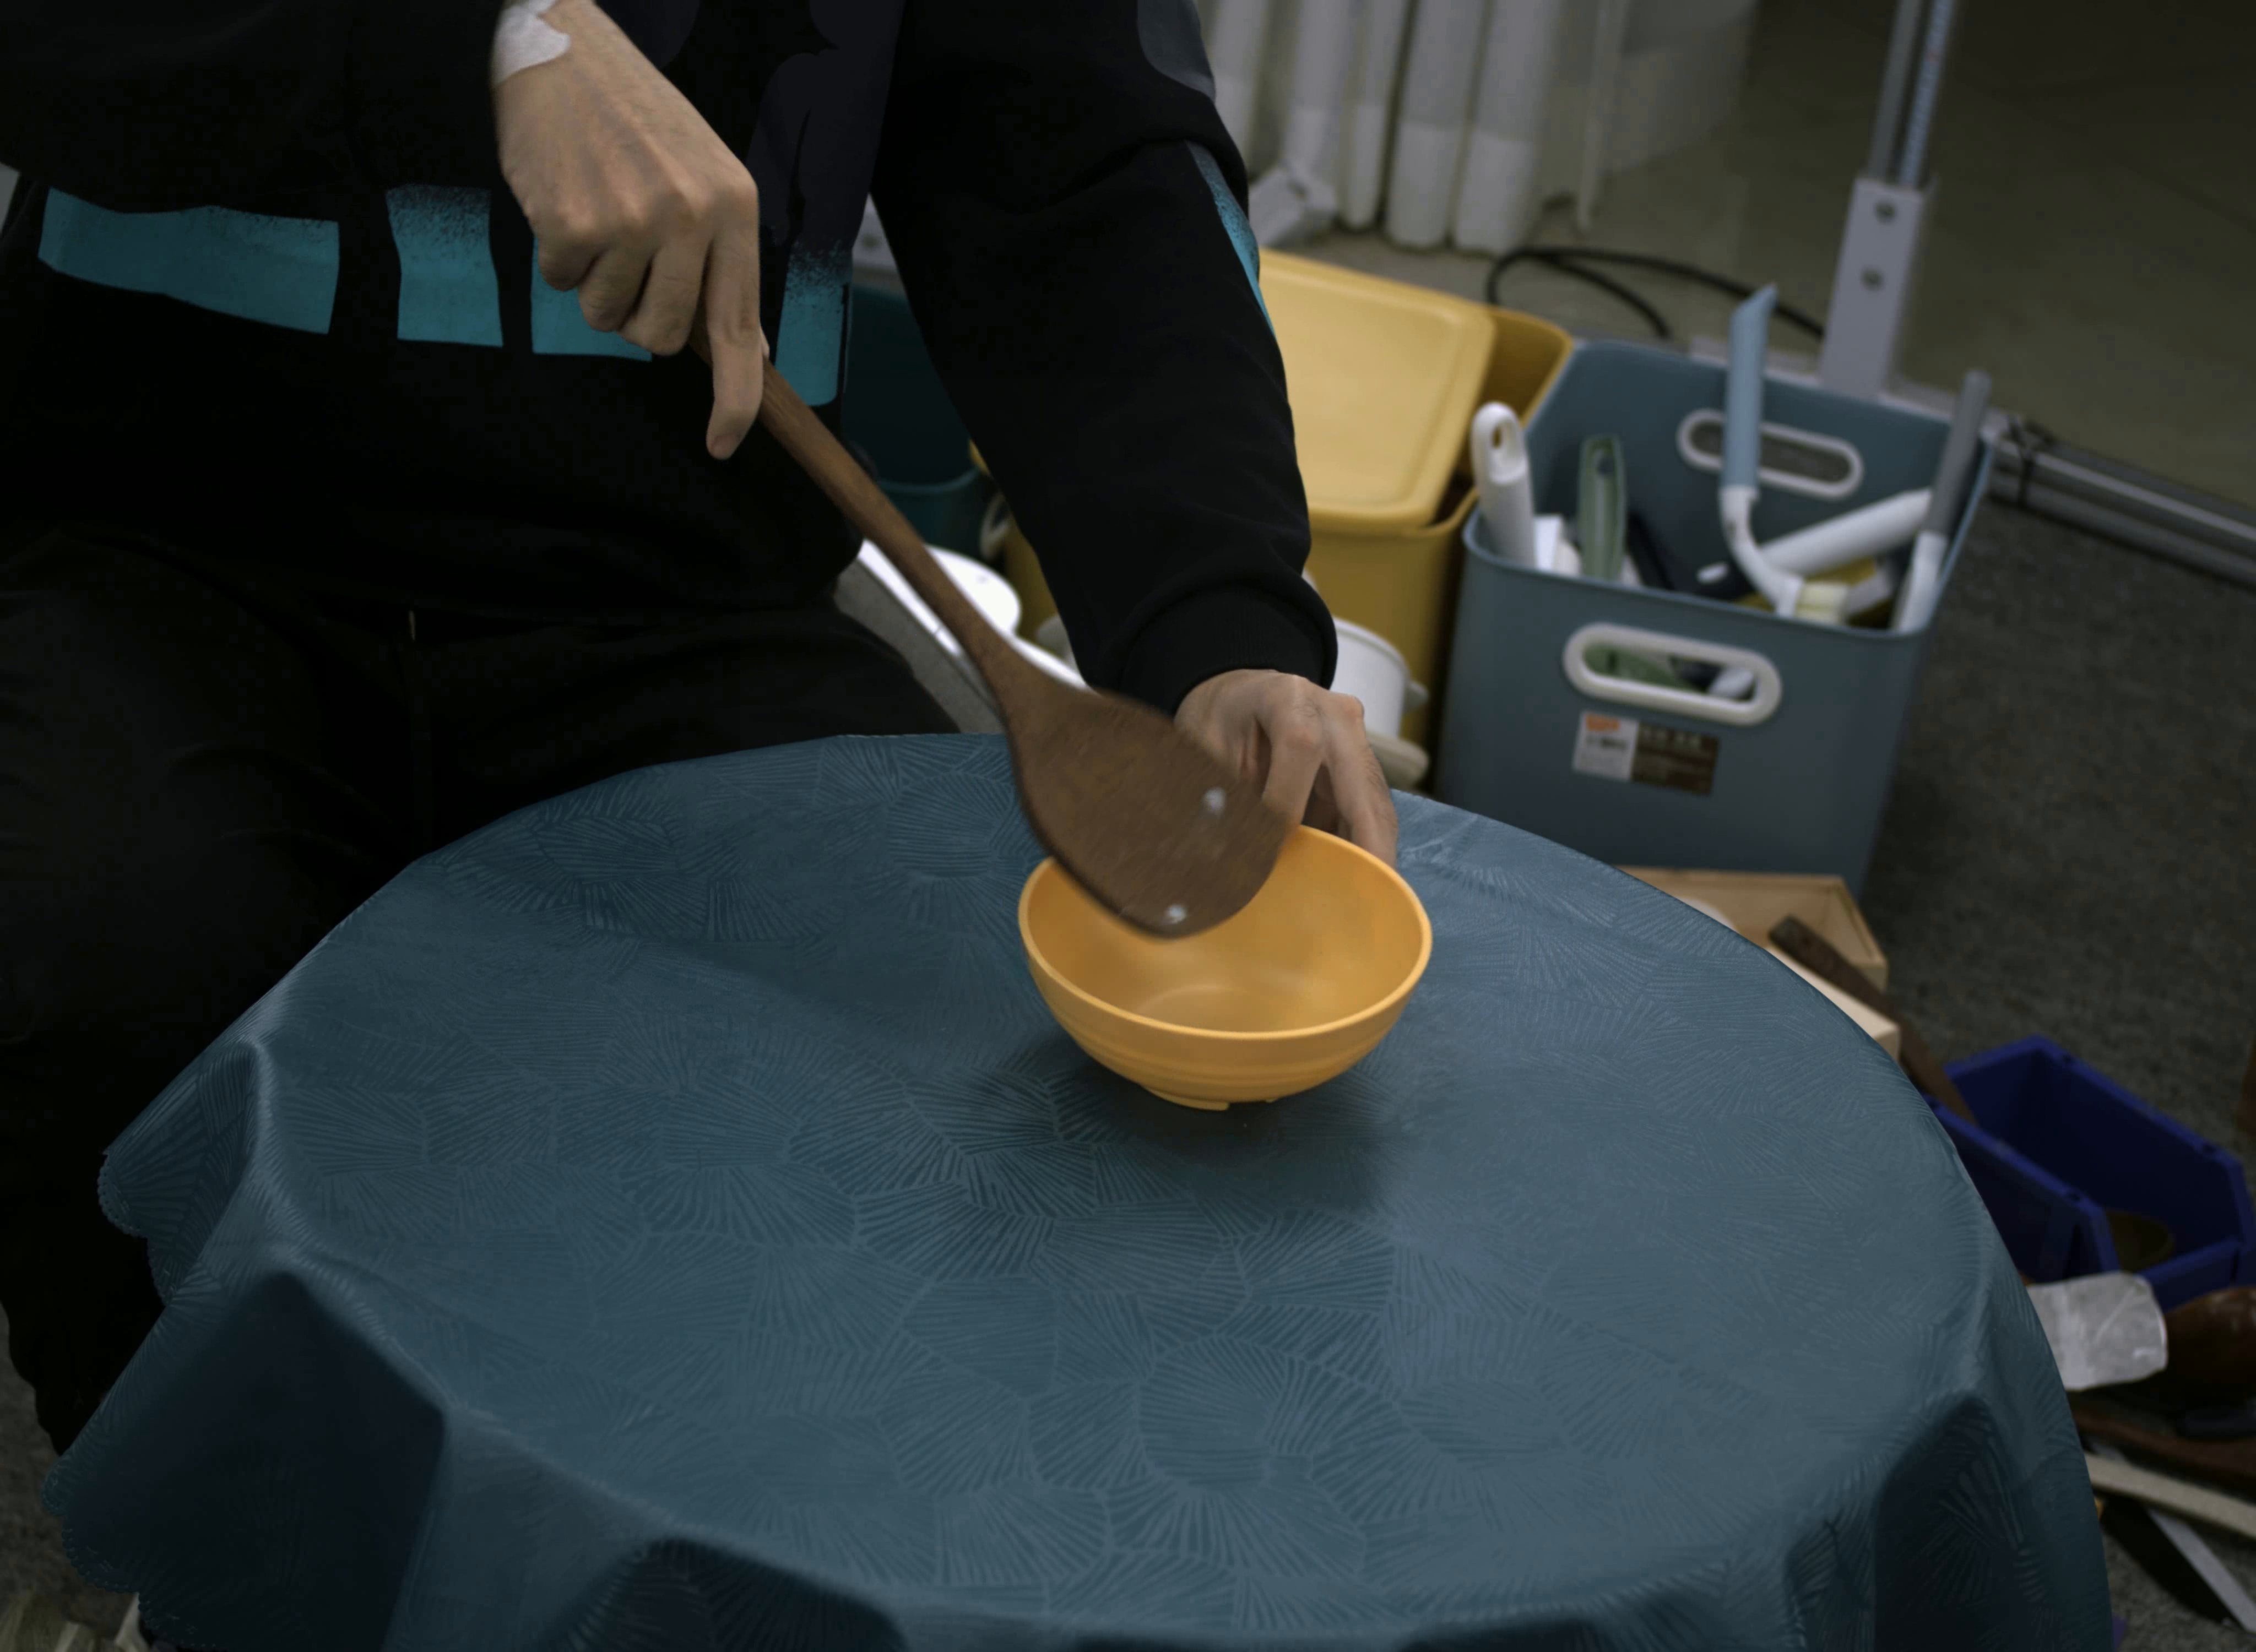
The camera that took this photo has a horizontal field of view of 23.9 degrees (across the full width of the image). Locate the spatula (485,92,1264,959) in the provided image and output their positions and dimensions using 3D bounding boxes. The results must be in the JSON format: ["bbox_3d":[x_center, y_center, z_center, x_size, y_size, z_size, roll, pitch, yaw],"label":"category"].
[{"bbox_3d":[-0.094,-0.110,1.843,0.386,0.016,0.096,50,42,2],"label":"spatula"}]

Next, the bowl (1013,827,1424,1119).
[{"bbox_3d":[0.029,0.060,1.865,0.145,0.060,0.146,5,29,-3],"label":"bowl"}]
